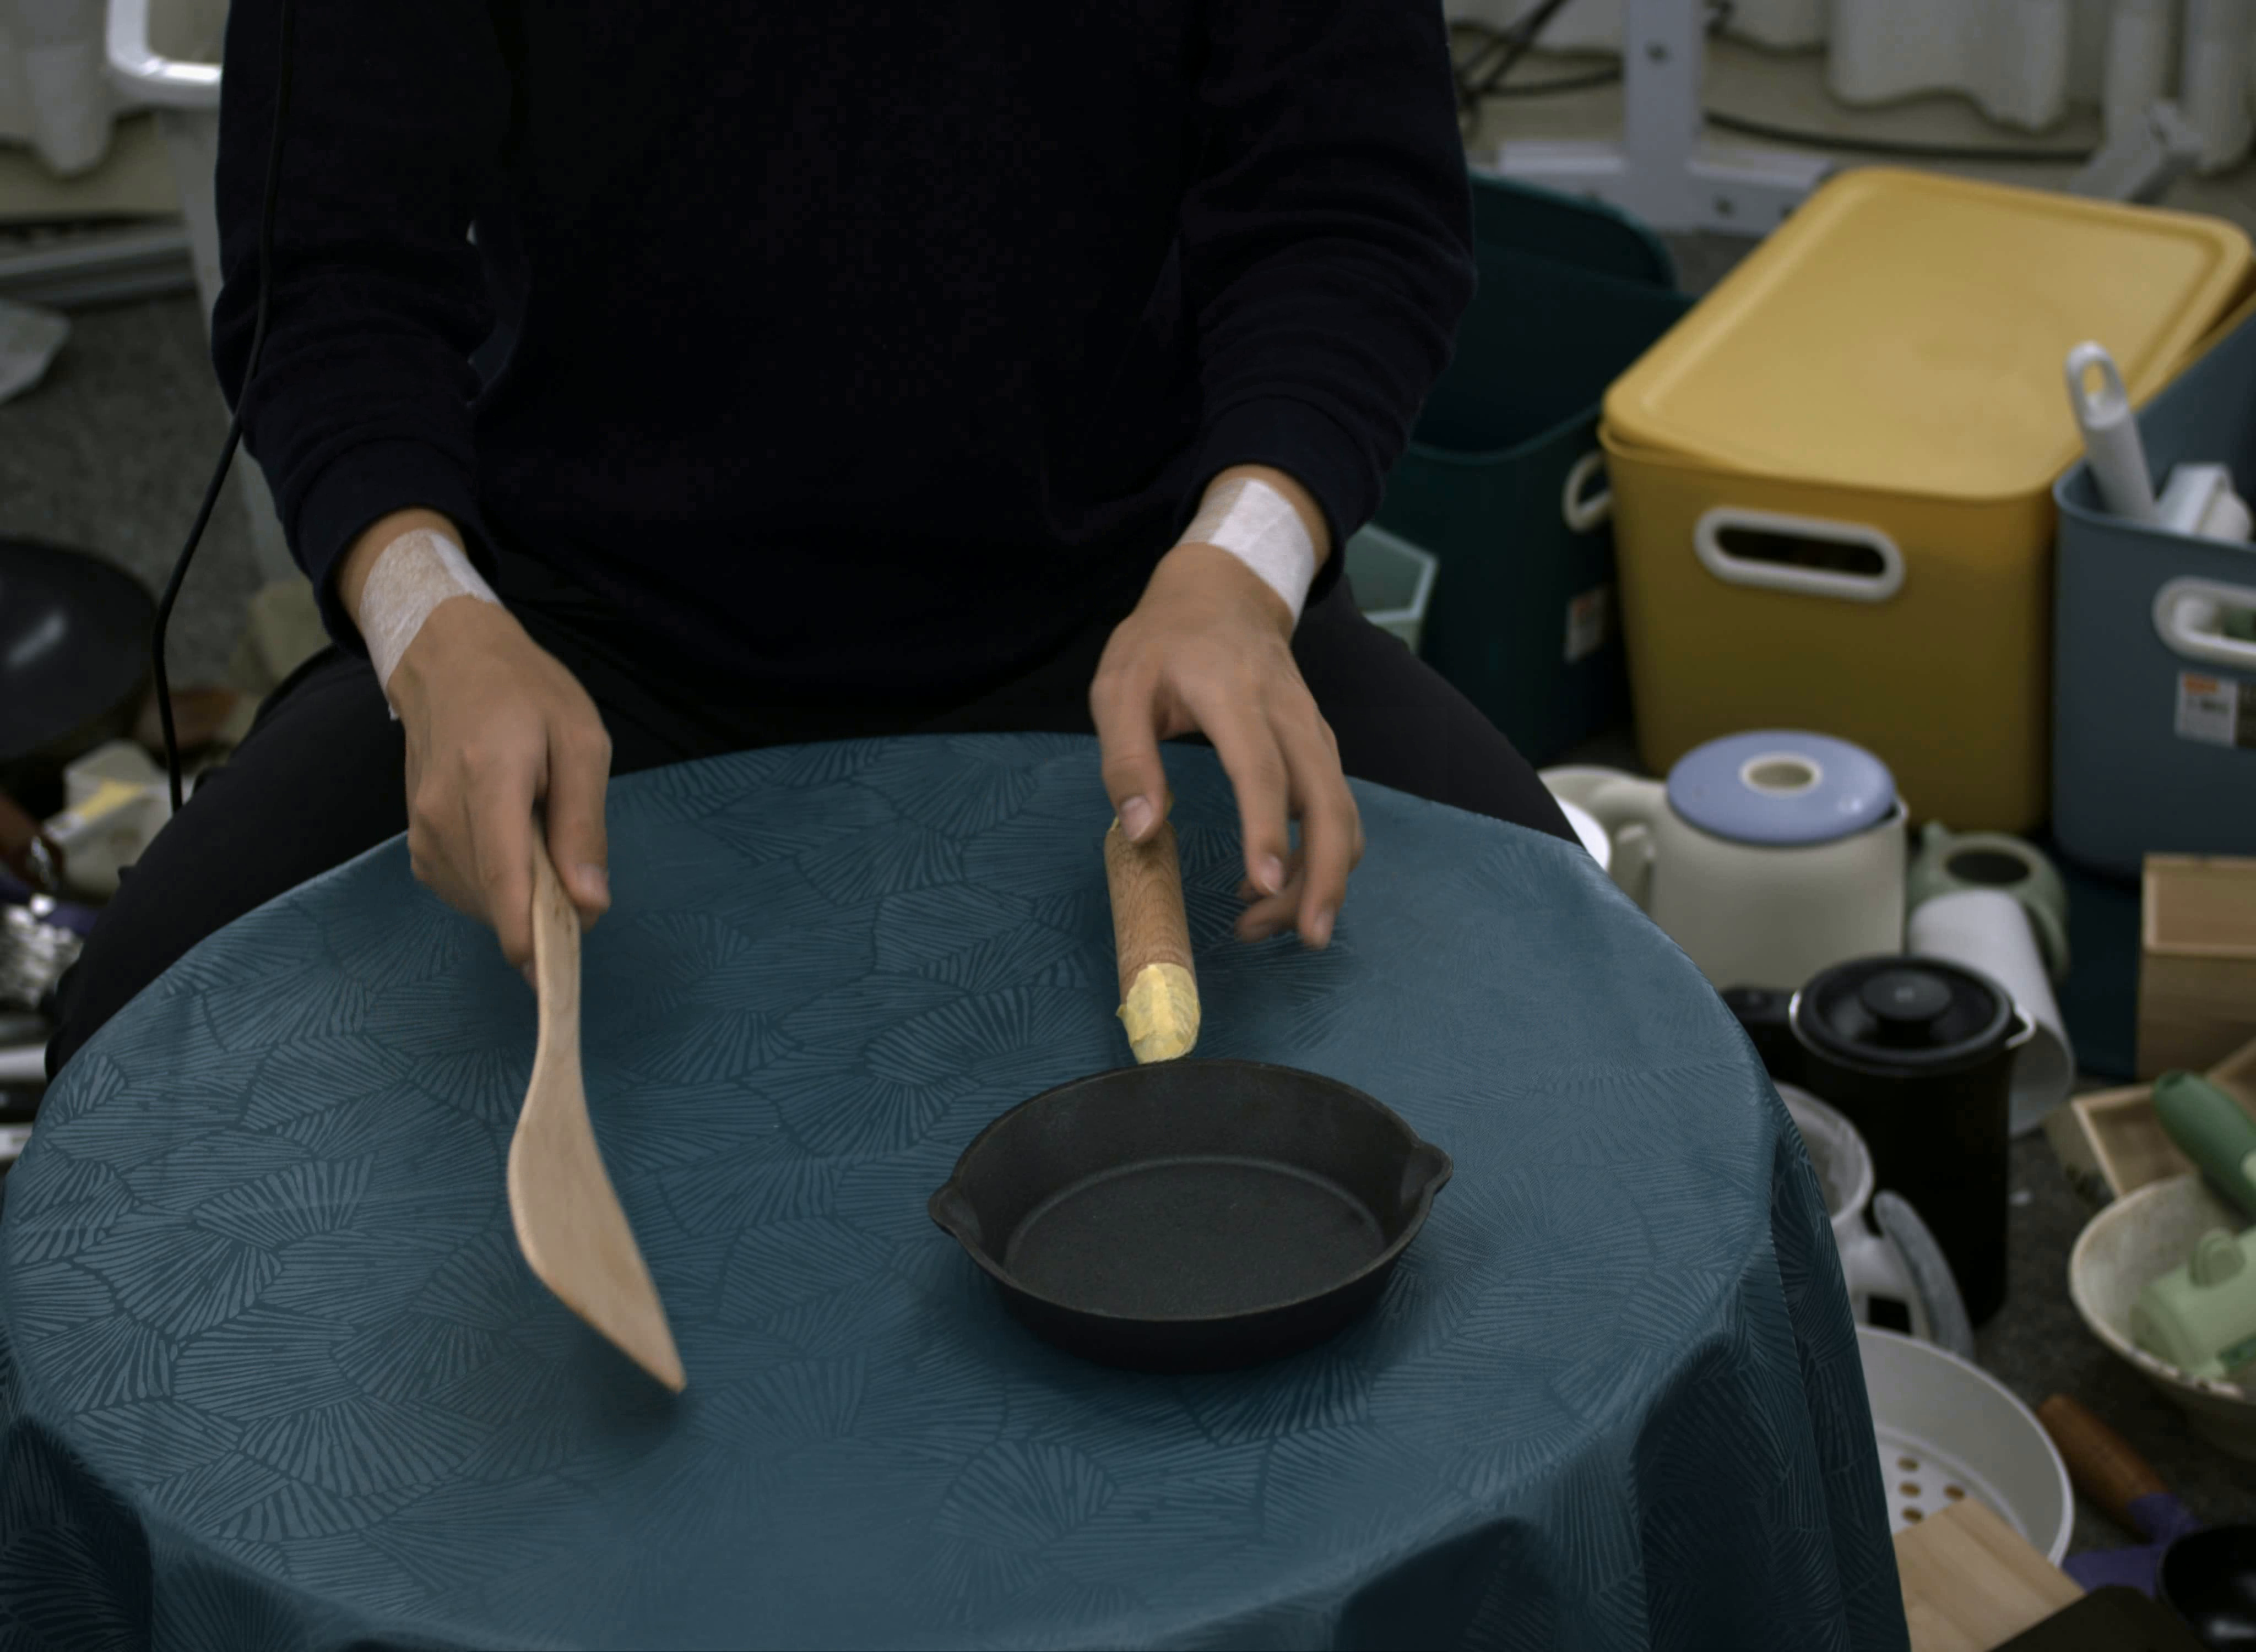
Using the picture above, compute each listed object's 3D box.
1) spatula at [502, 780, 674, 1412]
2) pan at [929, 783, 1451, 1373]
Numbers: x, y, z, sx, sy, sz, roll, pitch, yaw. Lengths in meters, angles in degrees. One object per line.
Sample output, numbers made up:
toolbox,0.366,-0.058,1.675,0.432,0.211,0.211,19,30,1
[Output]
spatula,-0.186,0.079,1.855,0.016,0.079,0.333,-32,32,12
pan,0.017,0.082,1.883,0.168,0.049,0.329,-4,29,-1
